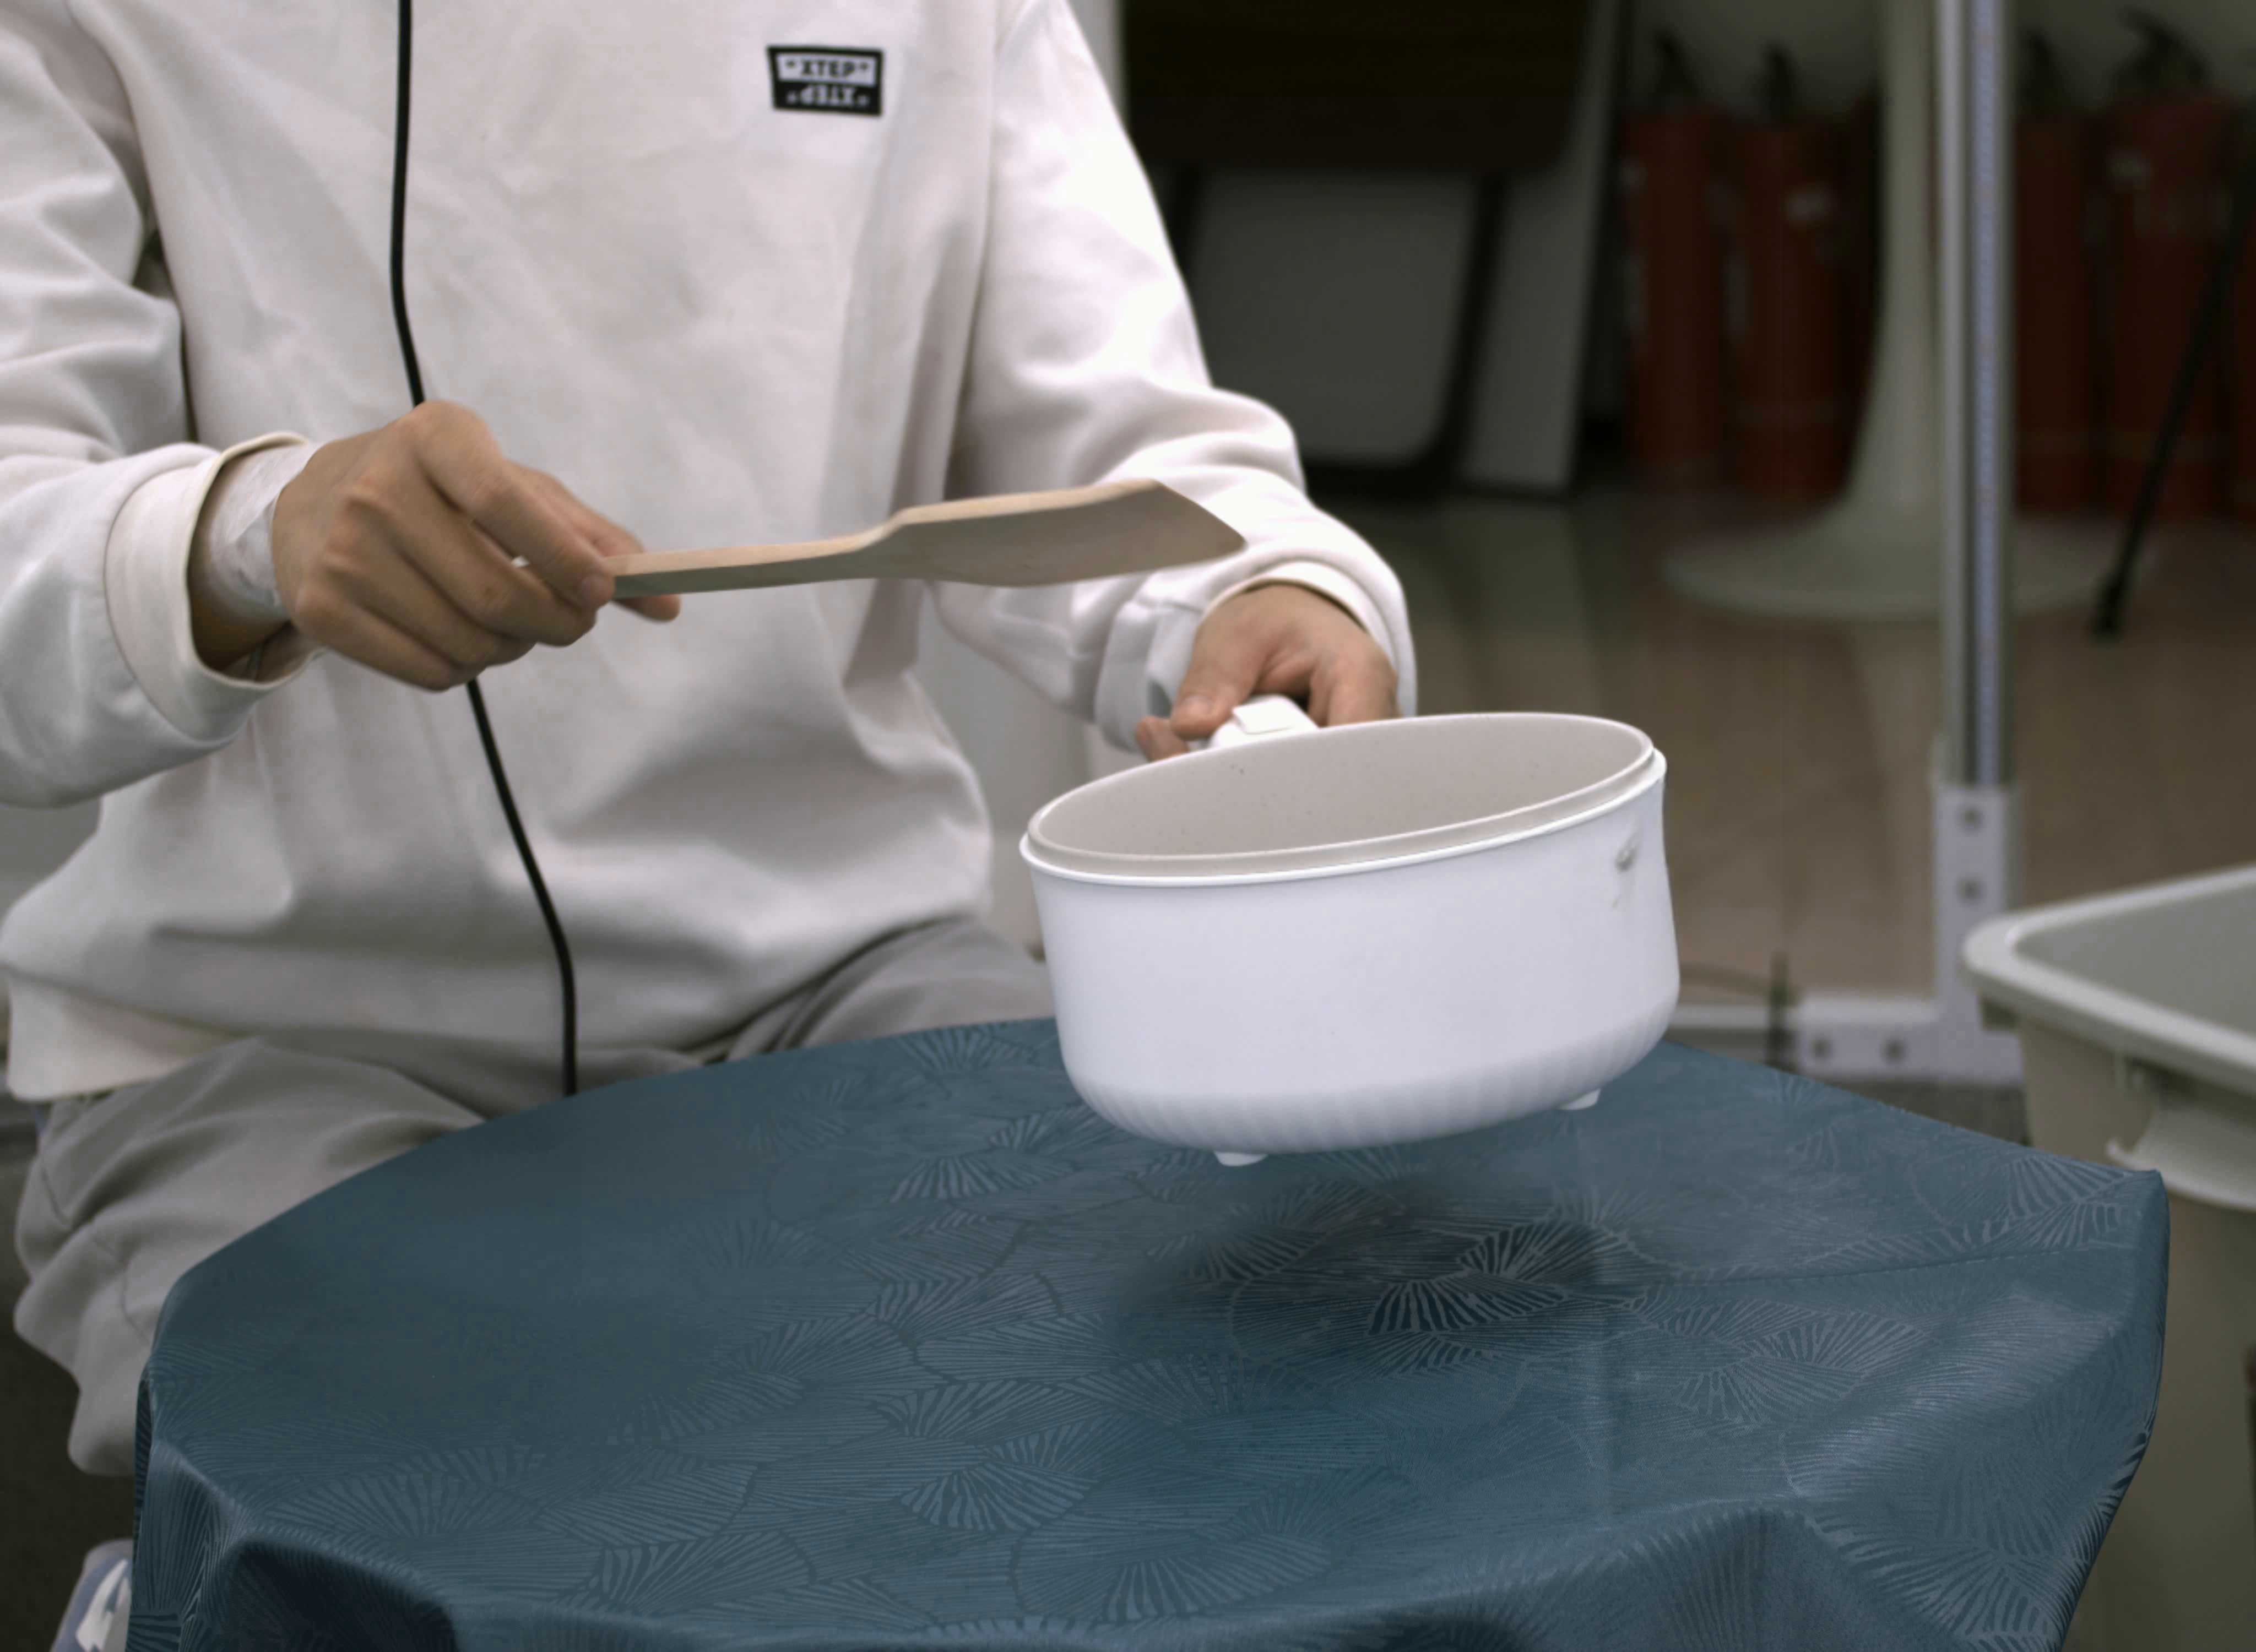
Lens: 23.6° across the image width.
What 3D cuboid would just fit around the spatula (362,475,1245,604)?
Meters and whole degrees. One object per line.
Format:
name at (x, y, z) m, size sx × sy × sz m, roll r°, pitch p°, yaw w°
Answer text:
spatula at (-0.108, -0.083, 1.648) m, size 0.293 × 0.011 × 0.071 m, roll -3°, pitch -16°, yaw 26°

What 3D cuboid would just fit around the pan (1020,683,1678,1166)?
pan at (0.062, 0.024, 1.734) m, size 0.198 × 0.103 × 0.356 m, roll -10°, pitch 9°, yaw -5°
